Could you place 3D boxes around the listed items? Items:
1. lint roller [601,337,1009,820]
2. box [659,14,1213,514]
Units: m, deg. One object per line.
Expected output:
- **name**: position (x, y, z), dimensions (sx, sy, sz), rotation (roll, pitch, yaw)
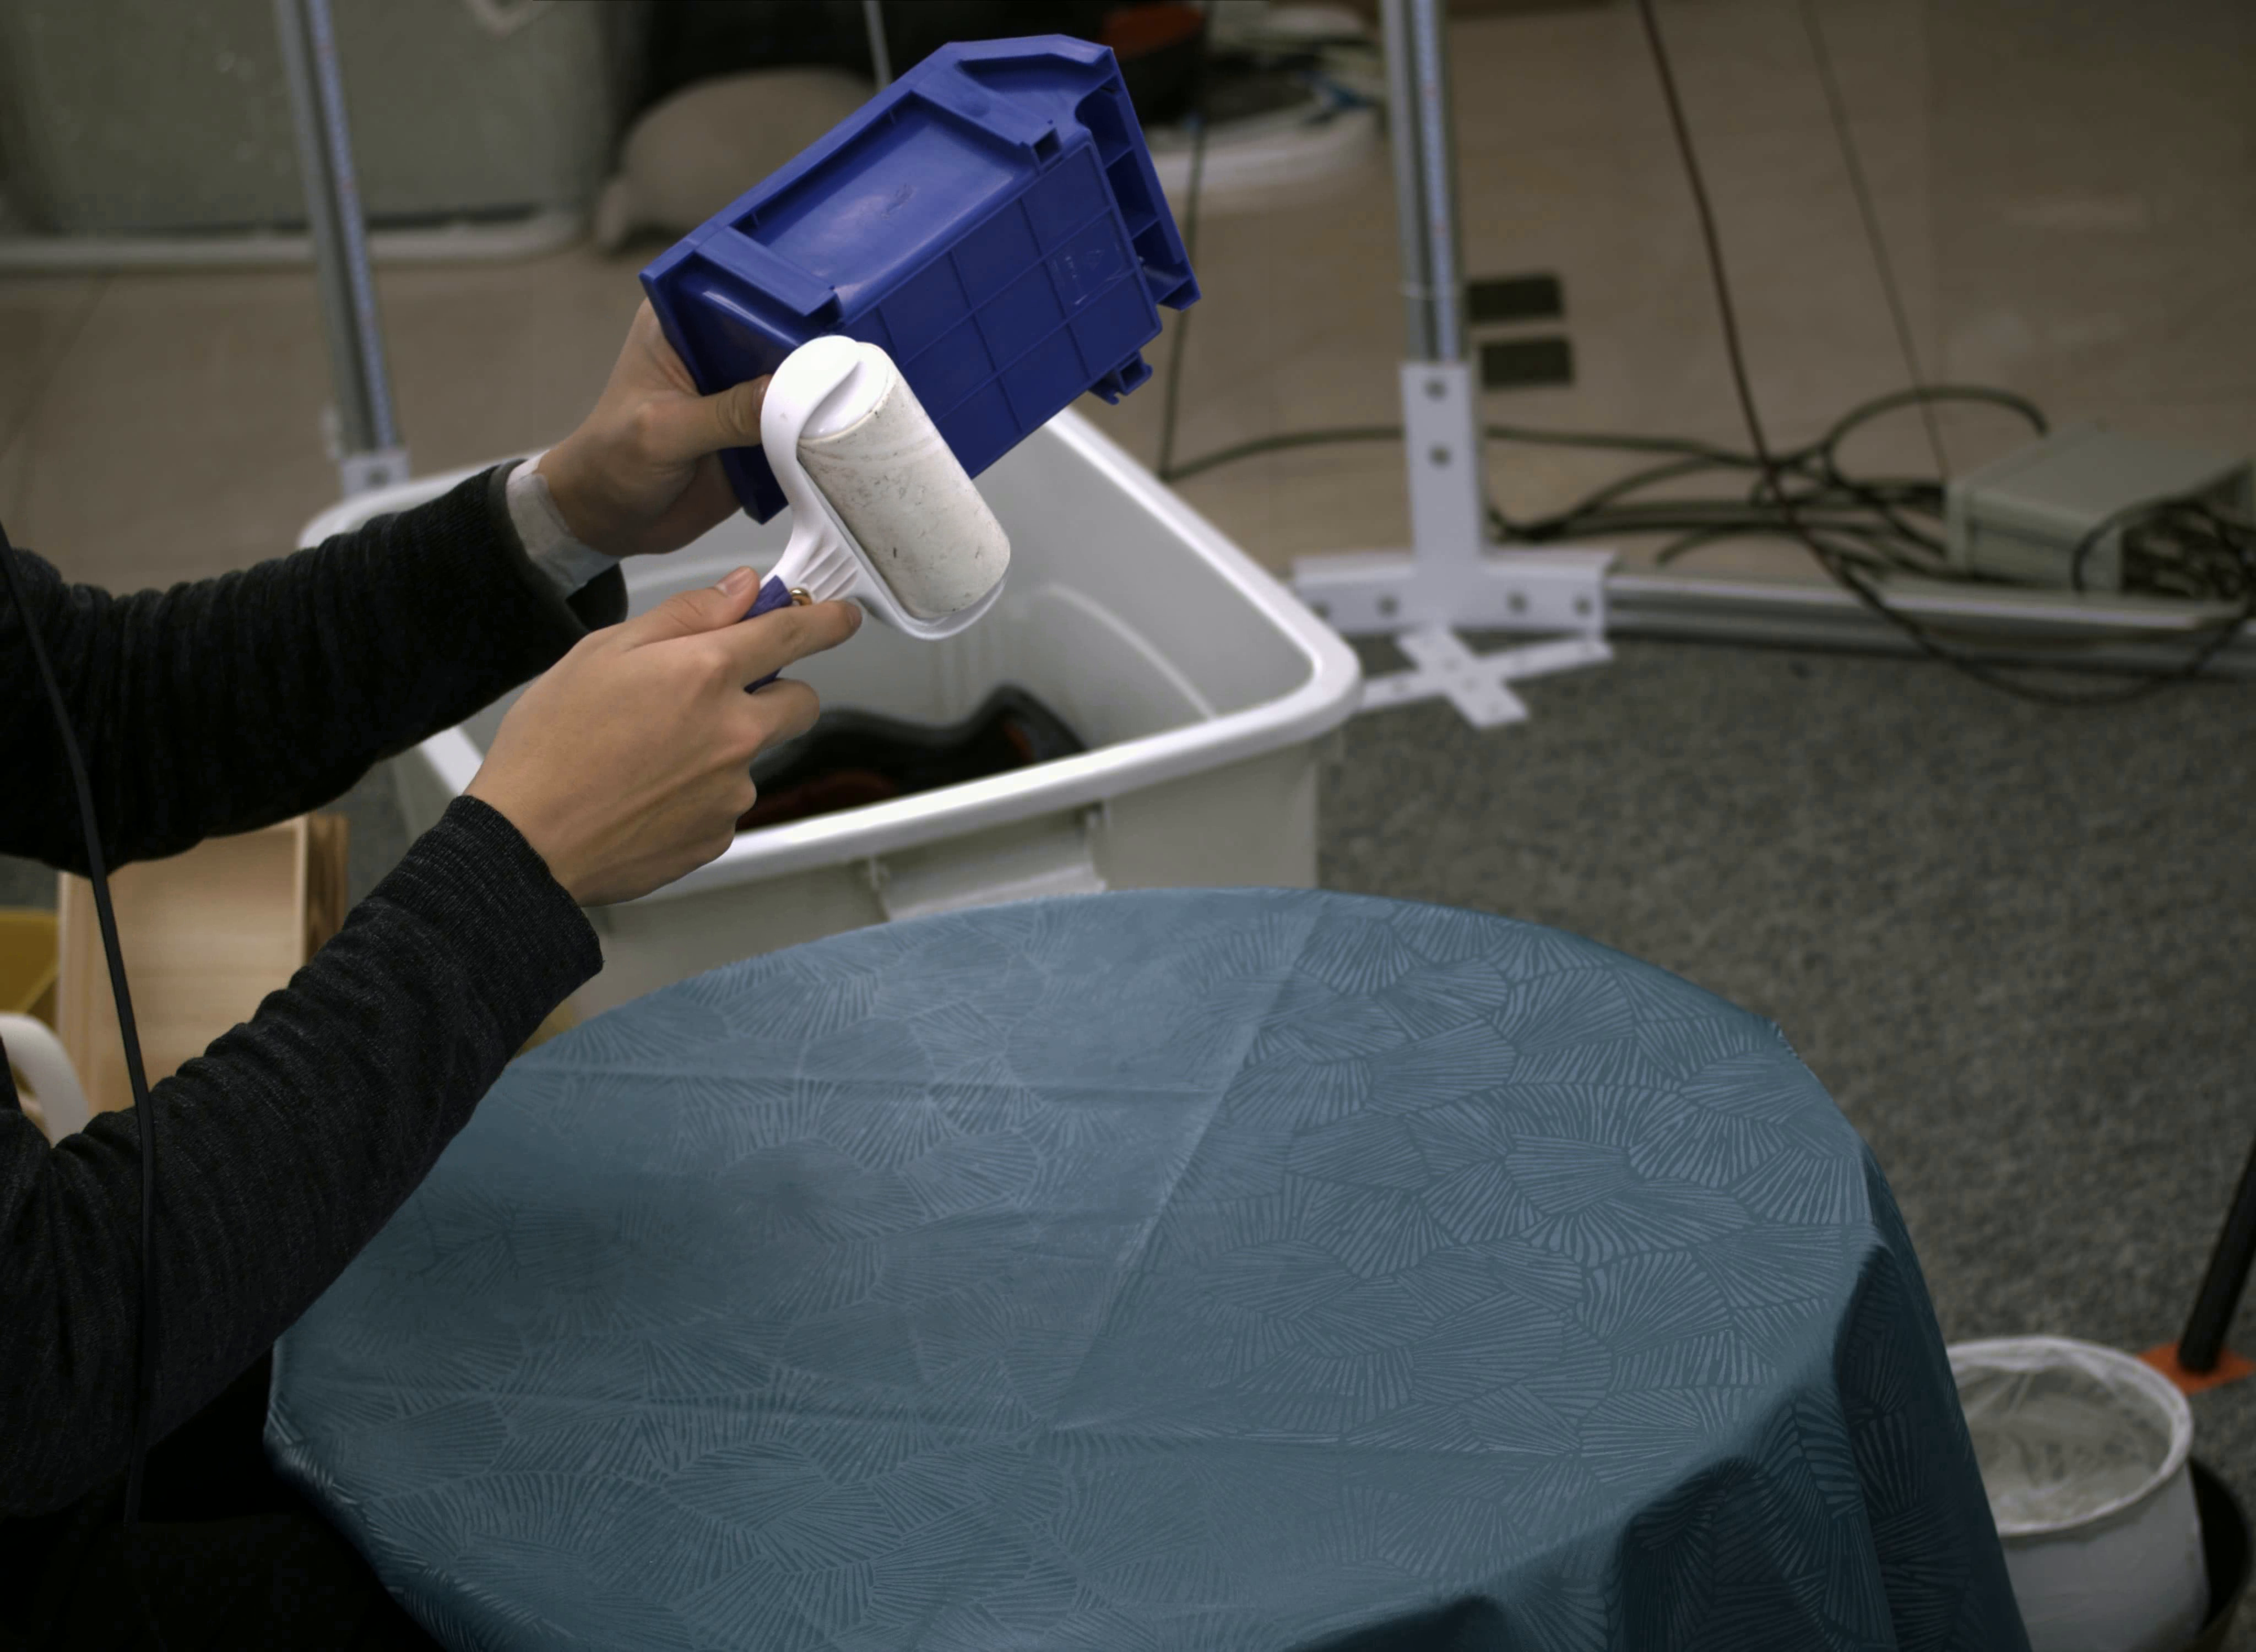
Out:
- **lint roller**: position (-0.119, -0.072, 1.976), dimensions (0.050, 0.135, 0.179), rotation (18, 64, 37)
- **box**: position (-0.062, -0.199, 2.062), dimensions (0.178, 0.127, 0.081), rotation (-42, 45, -19)
